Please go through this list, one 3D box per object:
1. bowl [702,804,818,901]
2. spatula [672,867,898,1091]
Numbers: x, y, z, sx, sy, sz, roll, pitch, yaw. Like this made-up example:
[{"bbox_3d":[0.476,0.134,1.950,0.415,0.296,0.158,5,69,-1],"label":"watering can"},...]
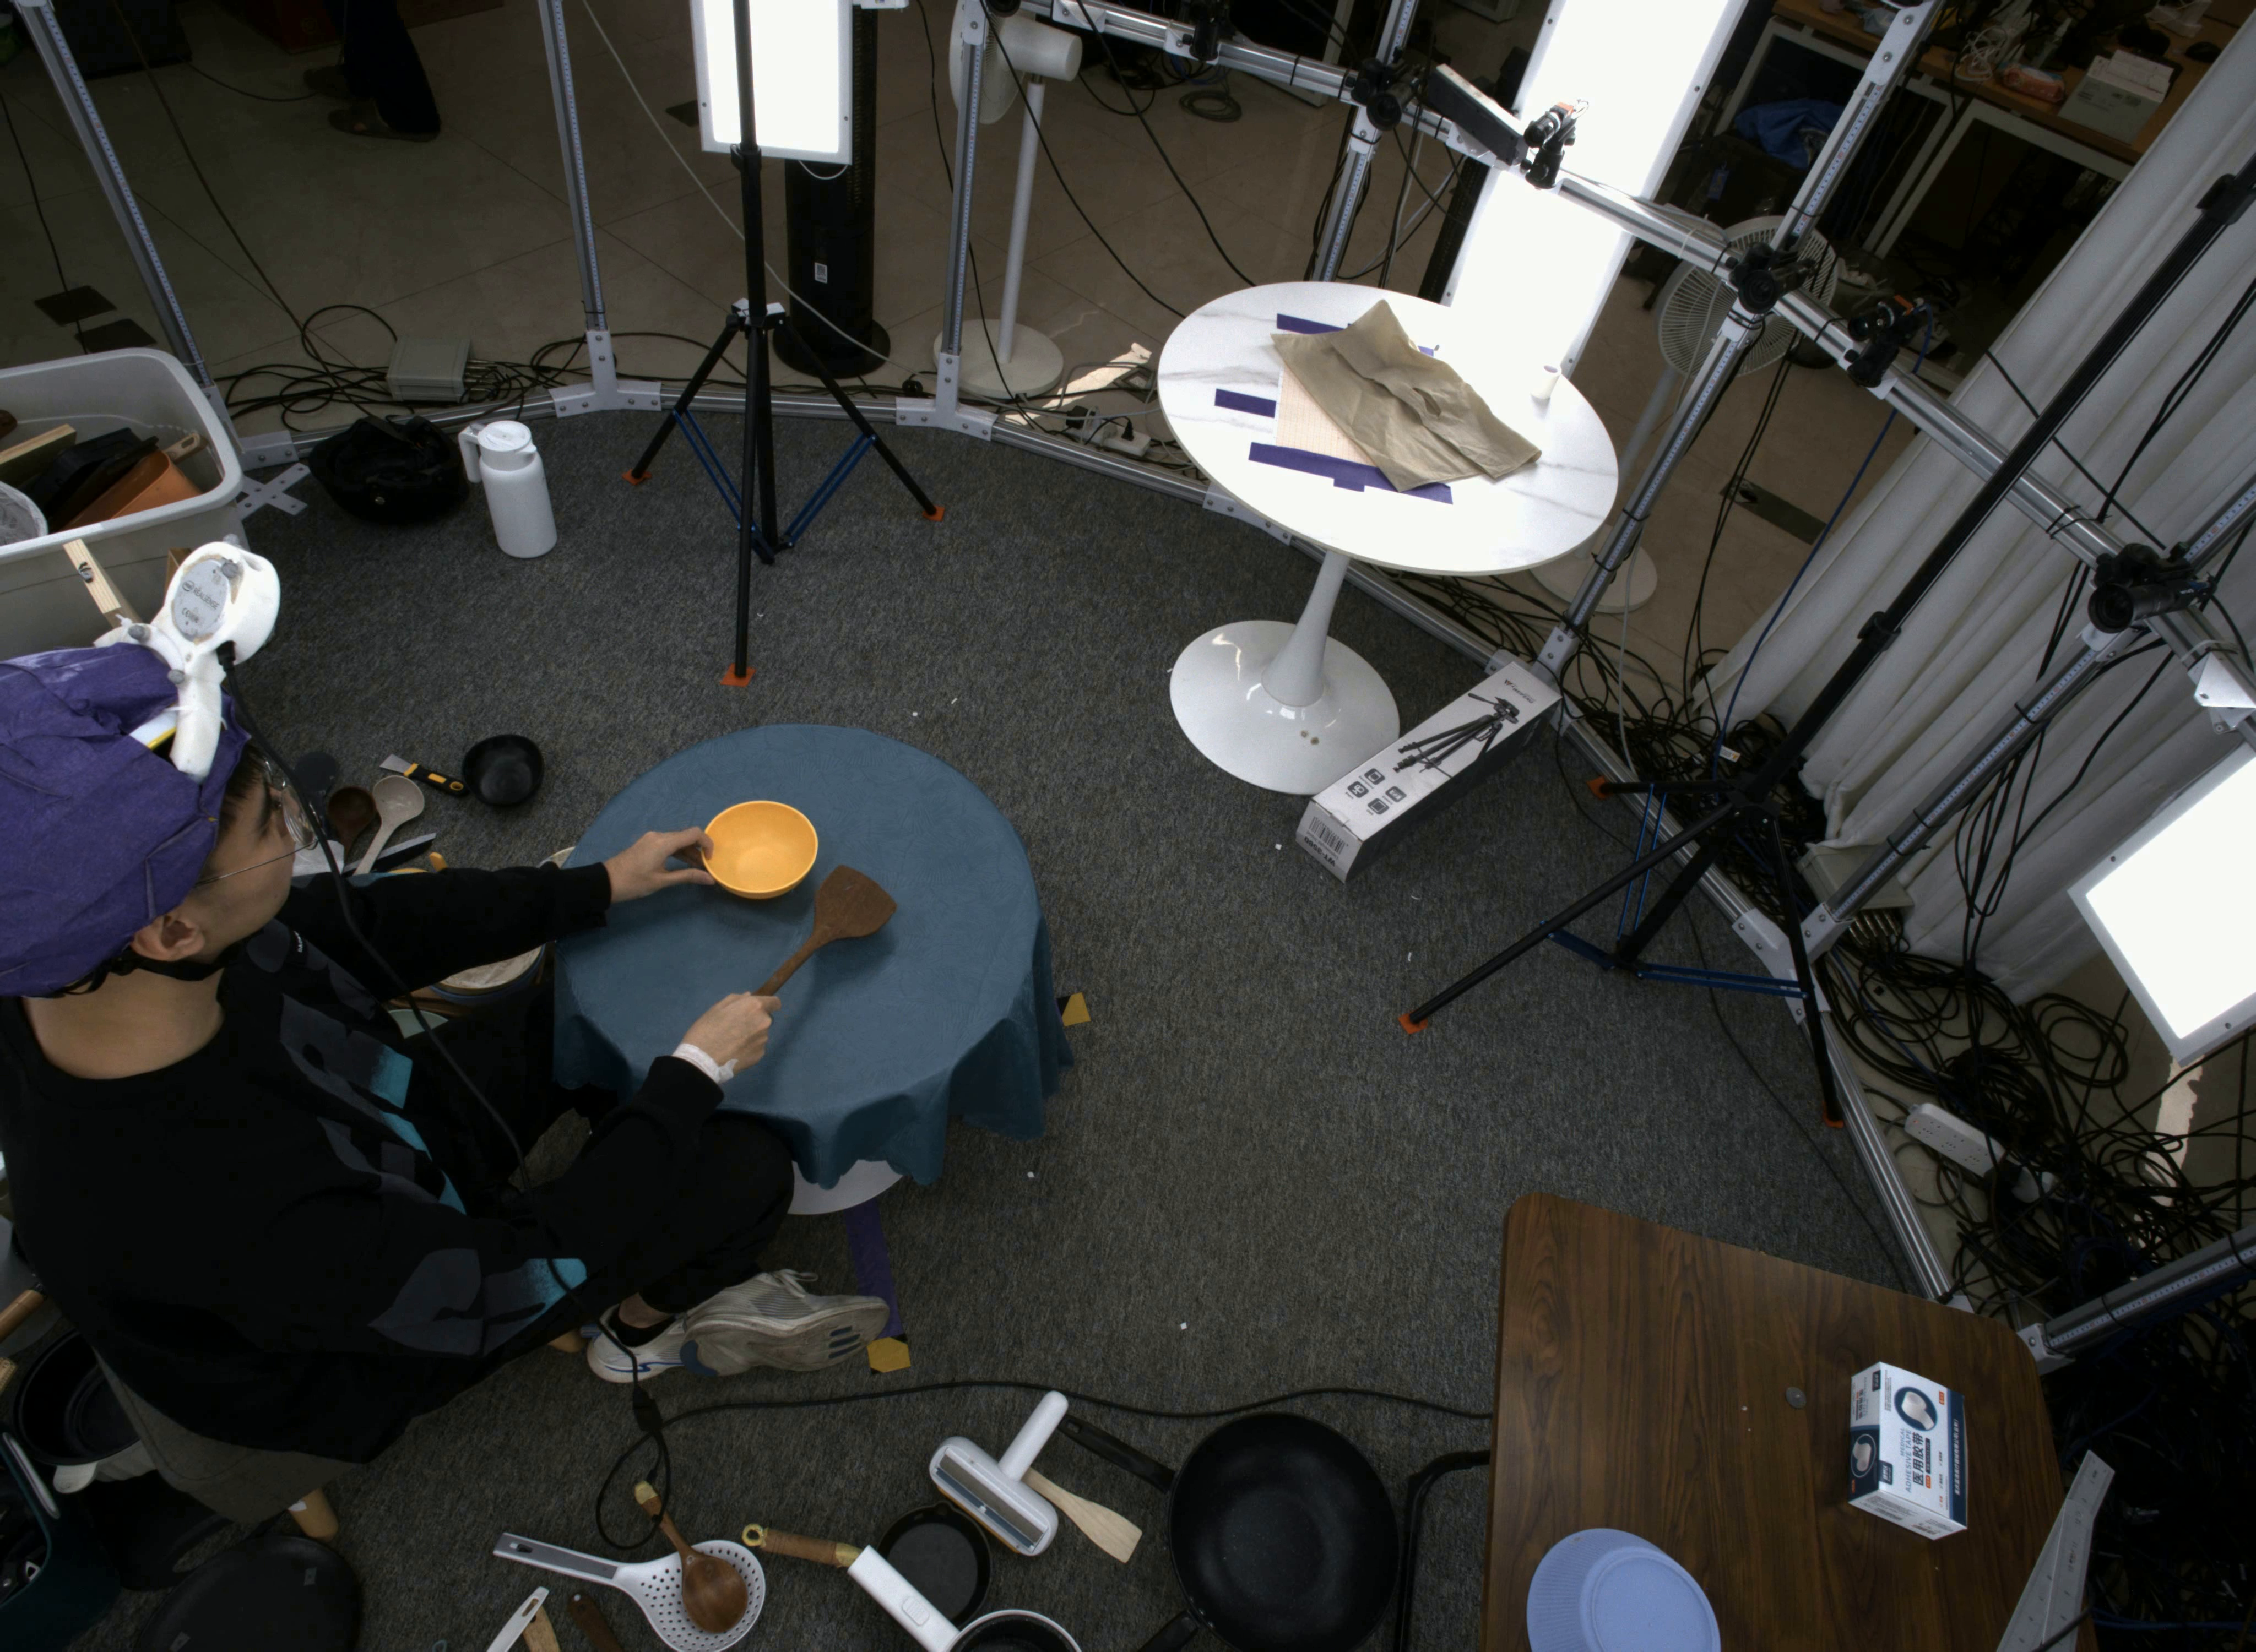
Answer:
[{"bbox_3d":[-0.466,0.043,1.650,0.144,0.061,0.142,6,51,-6],"label":"bowl"},{"bbox_3d":[-0.399,0.172,1.501,0.096,0.016,0.384,39,41,-1],"label":"spatula"}]
